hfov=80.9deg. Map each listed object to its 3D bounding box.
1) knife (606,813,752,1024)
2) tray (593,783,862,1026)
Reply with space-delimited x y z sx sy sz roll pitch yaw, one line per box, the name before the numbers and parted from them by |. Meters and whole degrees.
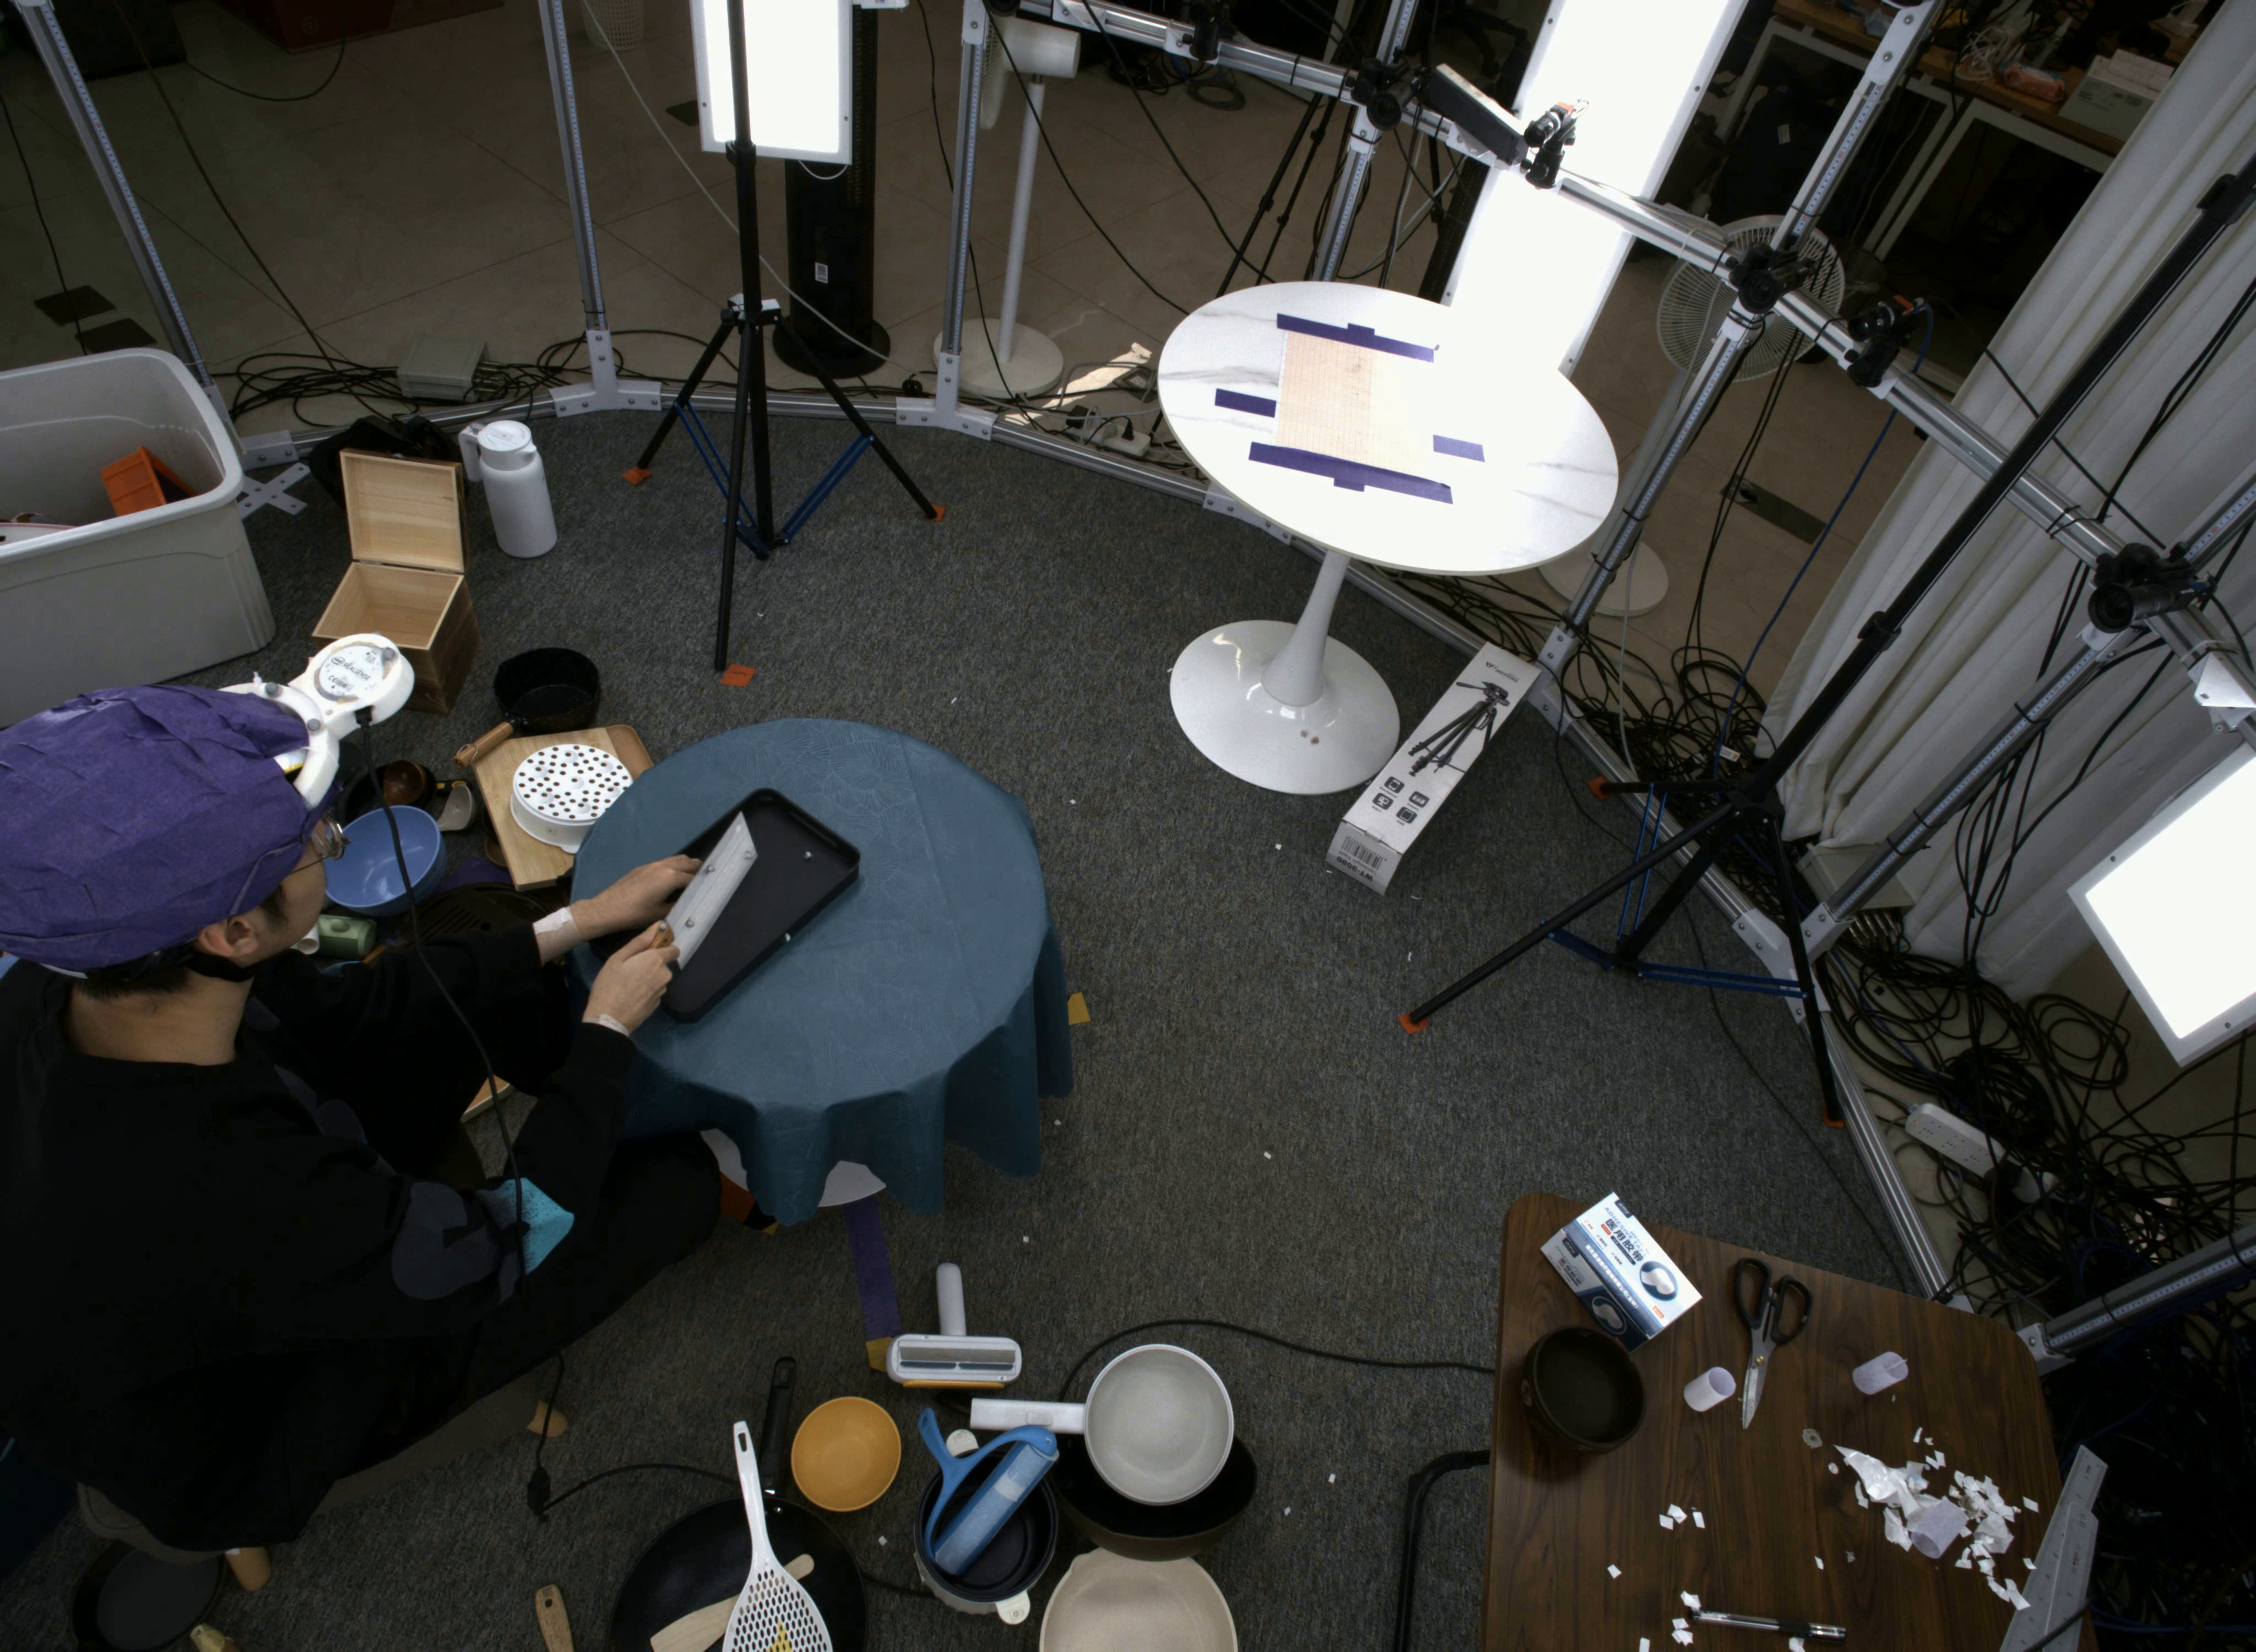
knife | -0.526 0.117 1.530 0.020 0.096 0.303 13 51 13
tray | -0.494 0.088 1.605 0.181 0.038 0.317 33 53 10
